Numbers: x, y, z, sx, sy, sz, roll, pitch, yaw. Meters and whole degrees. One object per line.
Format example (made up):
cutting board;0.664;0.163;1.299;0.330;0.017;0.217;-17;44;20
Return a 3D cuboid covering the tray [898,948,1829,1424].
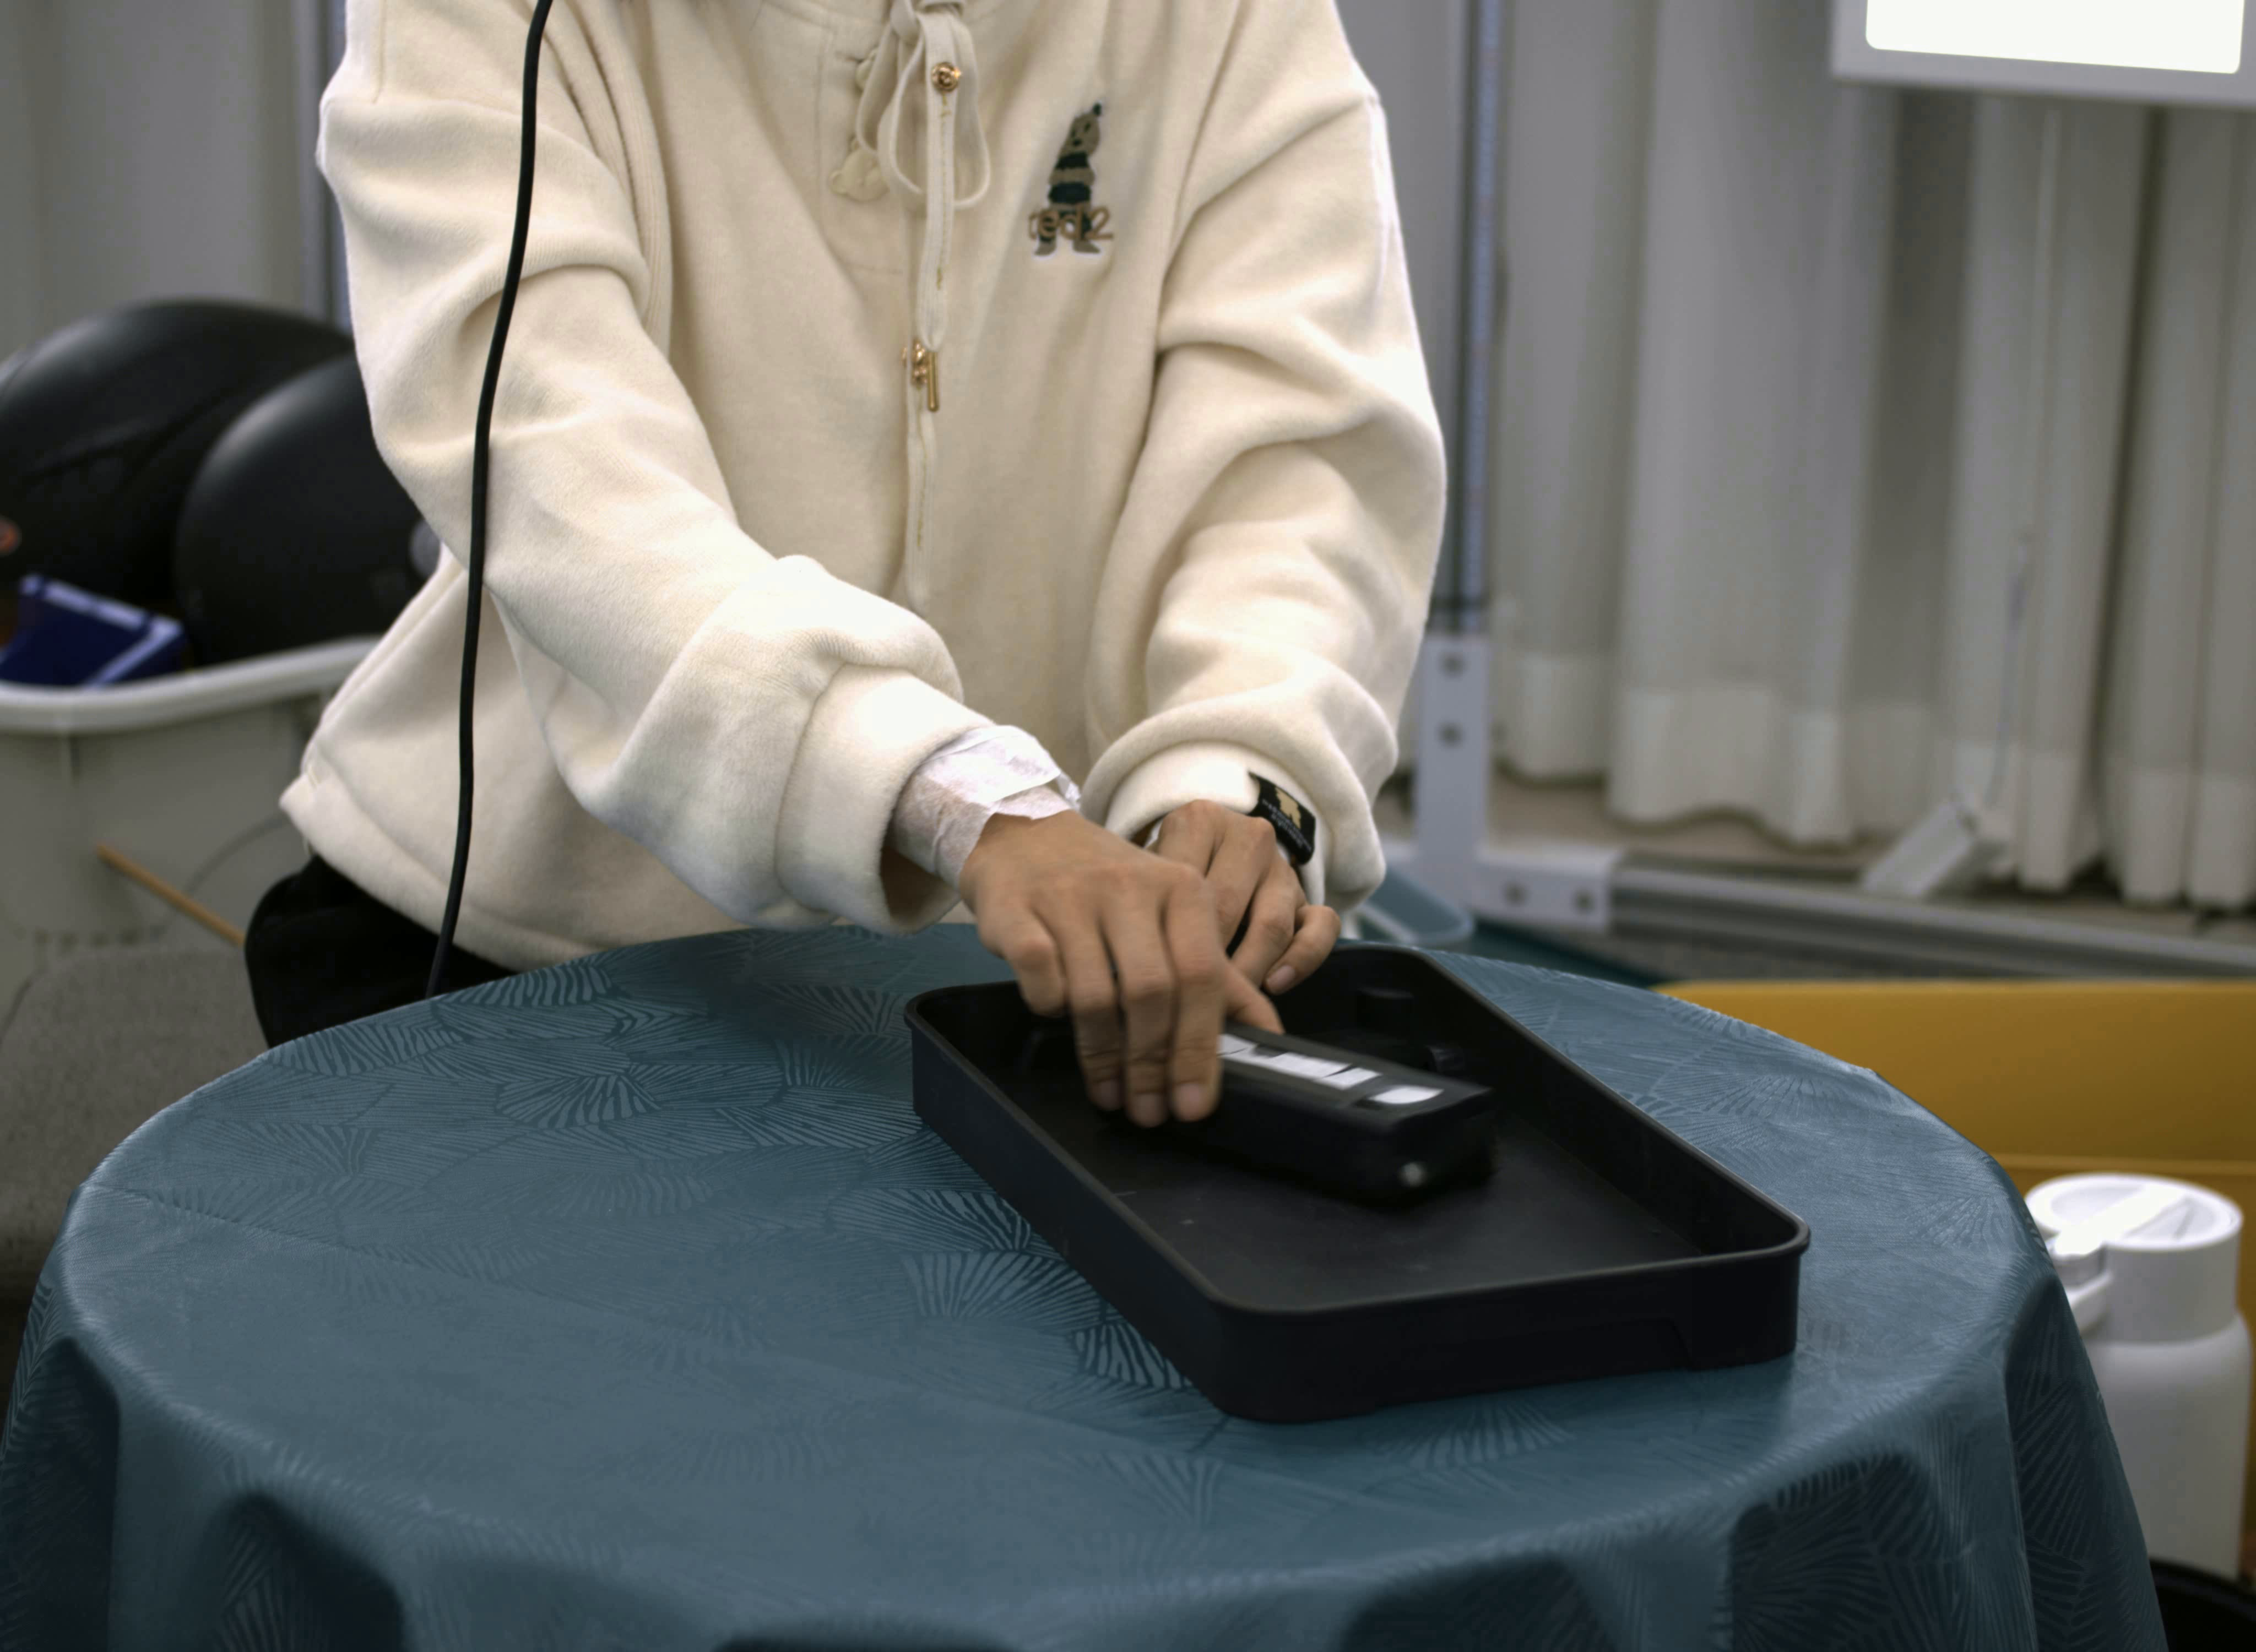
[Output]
tray;0.062;0.102;1.589;0.185;0.037;0.314;-5;16;-21

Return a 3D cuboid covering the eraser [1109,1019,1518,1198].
eraser;0.057;0.087;1.644;0.124;0.030;0.054;12;13;37
